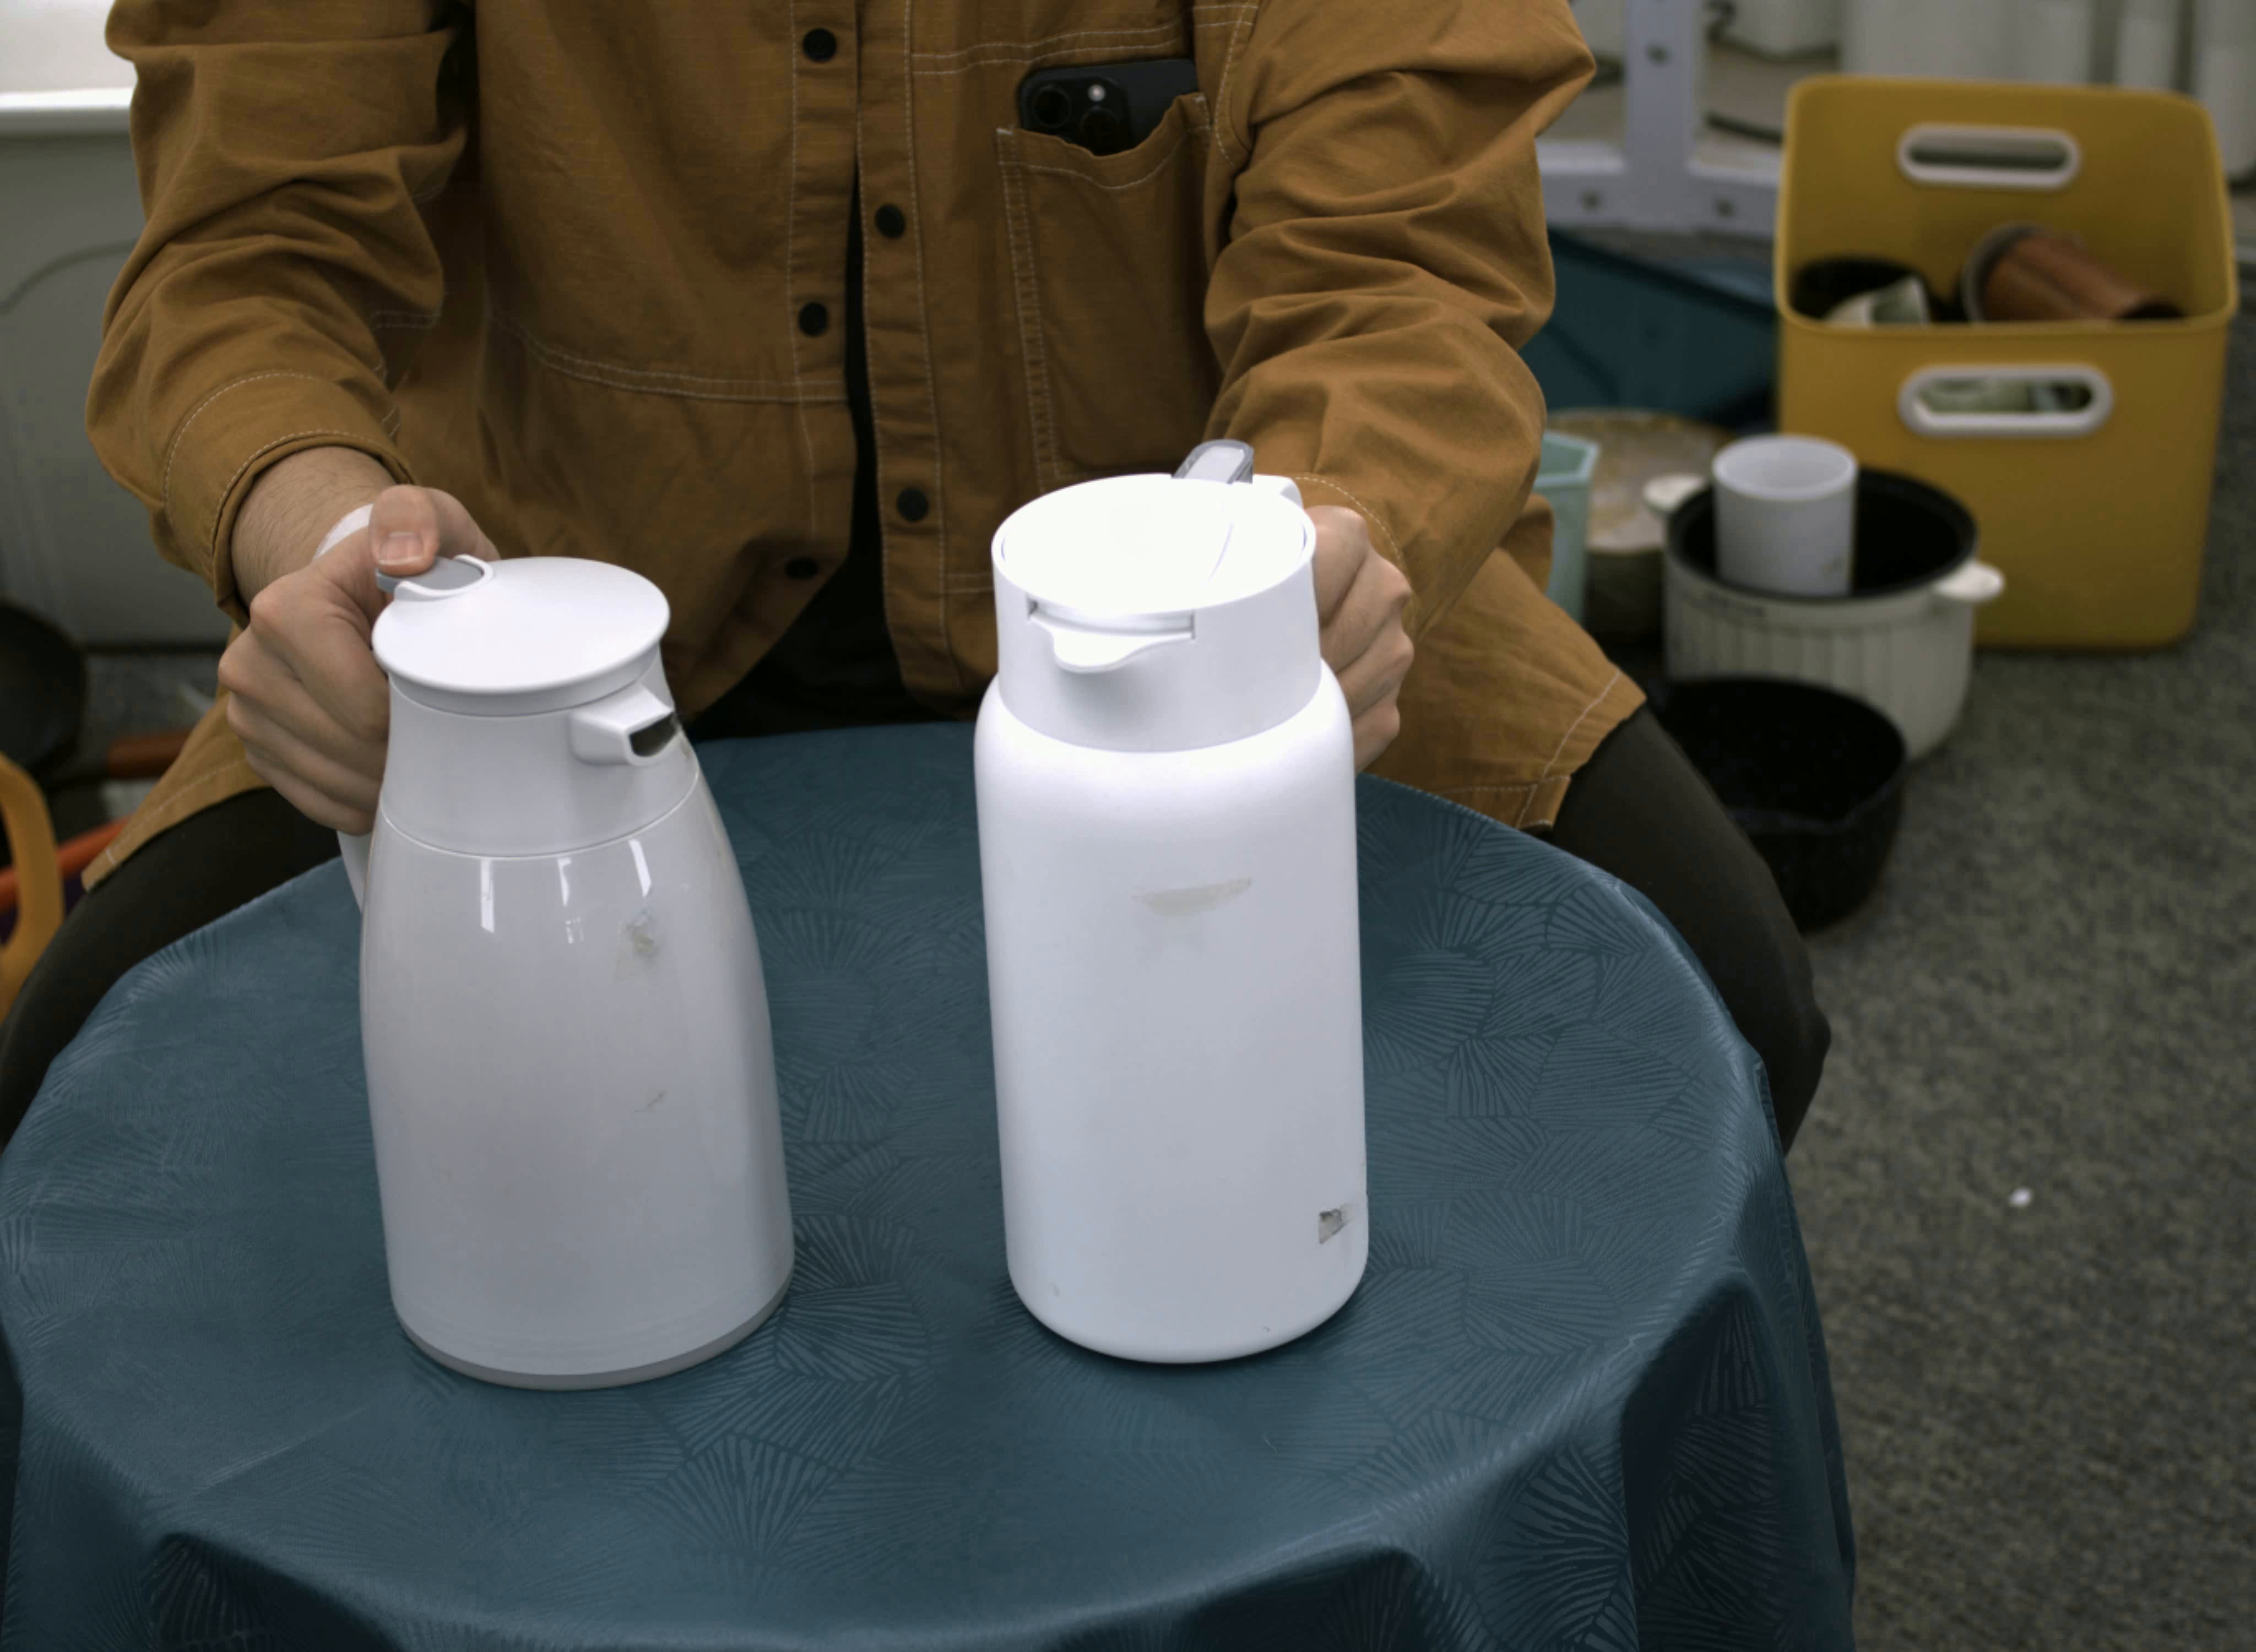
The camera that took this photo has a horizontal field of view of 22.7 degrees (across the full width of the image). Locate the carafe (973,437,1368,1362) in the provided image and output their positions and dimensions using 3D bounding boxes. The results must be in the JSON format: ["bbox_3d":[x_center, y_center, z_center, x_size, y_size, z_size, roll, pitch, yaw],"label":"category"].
[{"bbox_3d":[0.017,0.019,1.768,0.123,0.266,0.176,4,27,18],"label":"carafe"}]

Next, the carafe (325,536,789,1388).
[{"bbox_3d":[-0.195,0.033,1.782,0.134,0.246,0.167,-25,33,-38],"label":"carafe"}]
